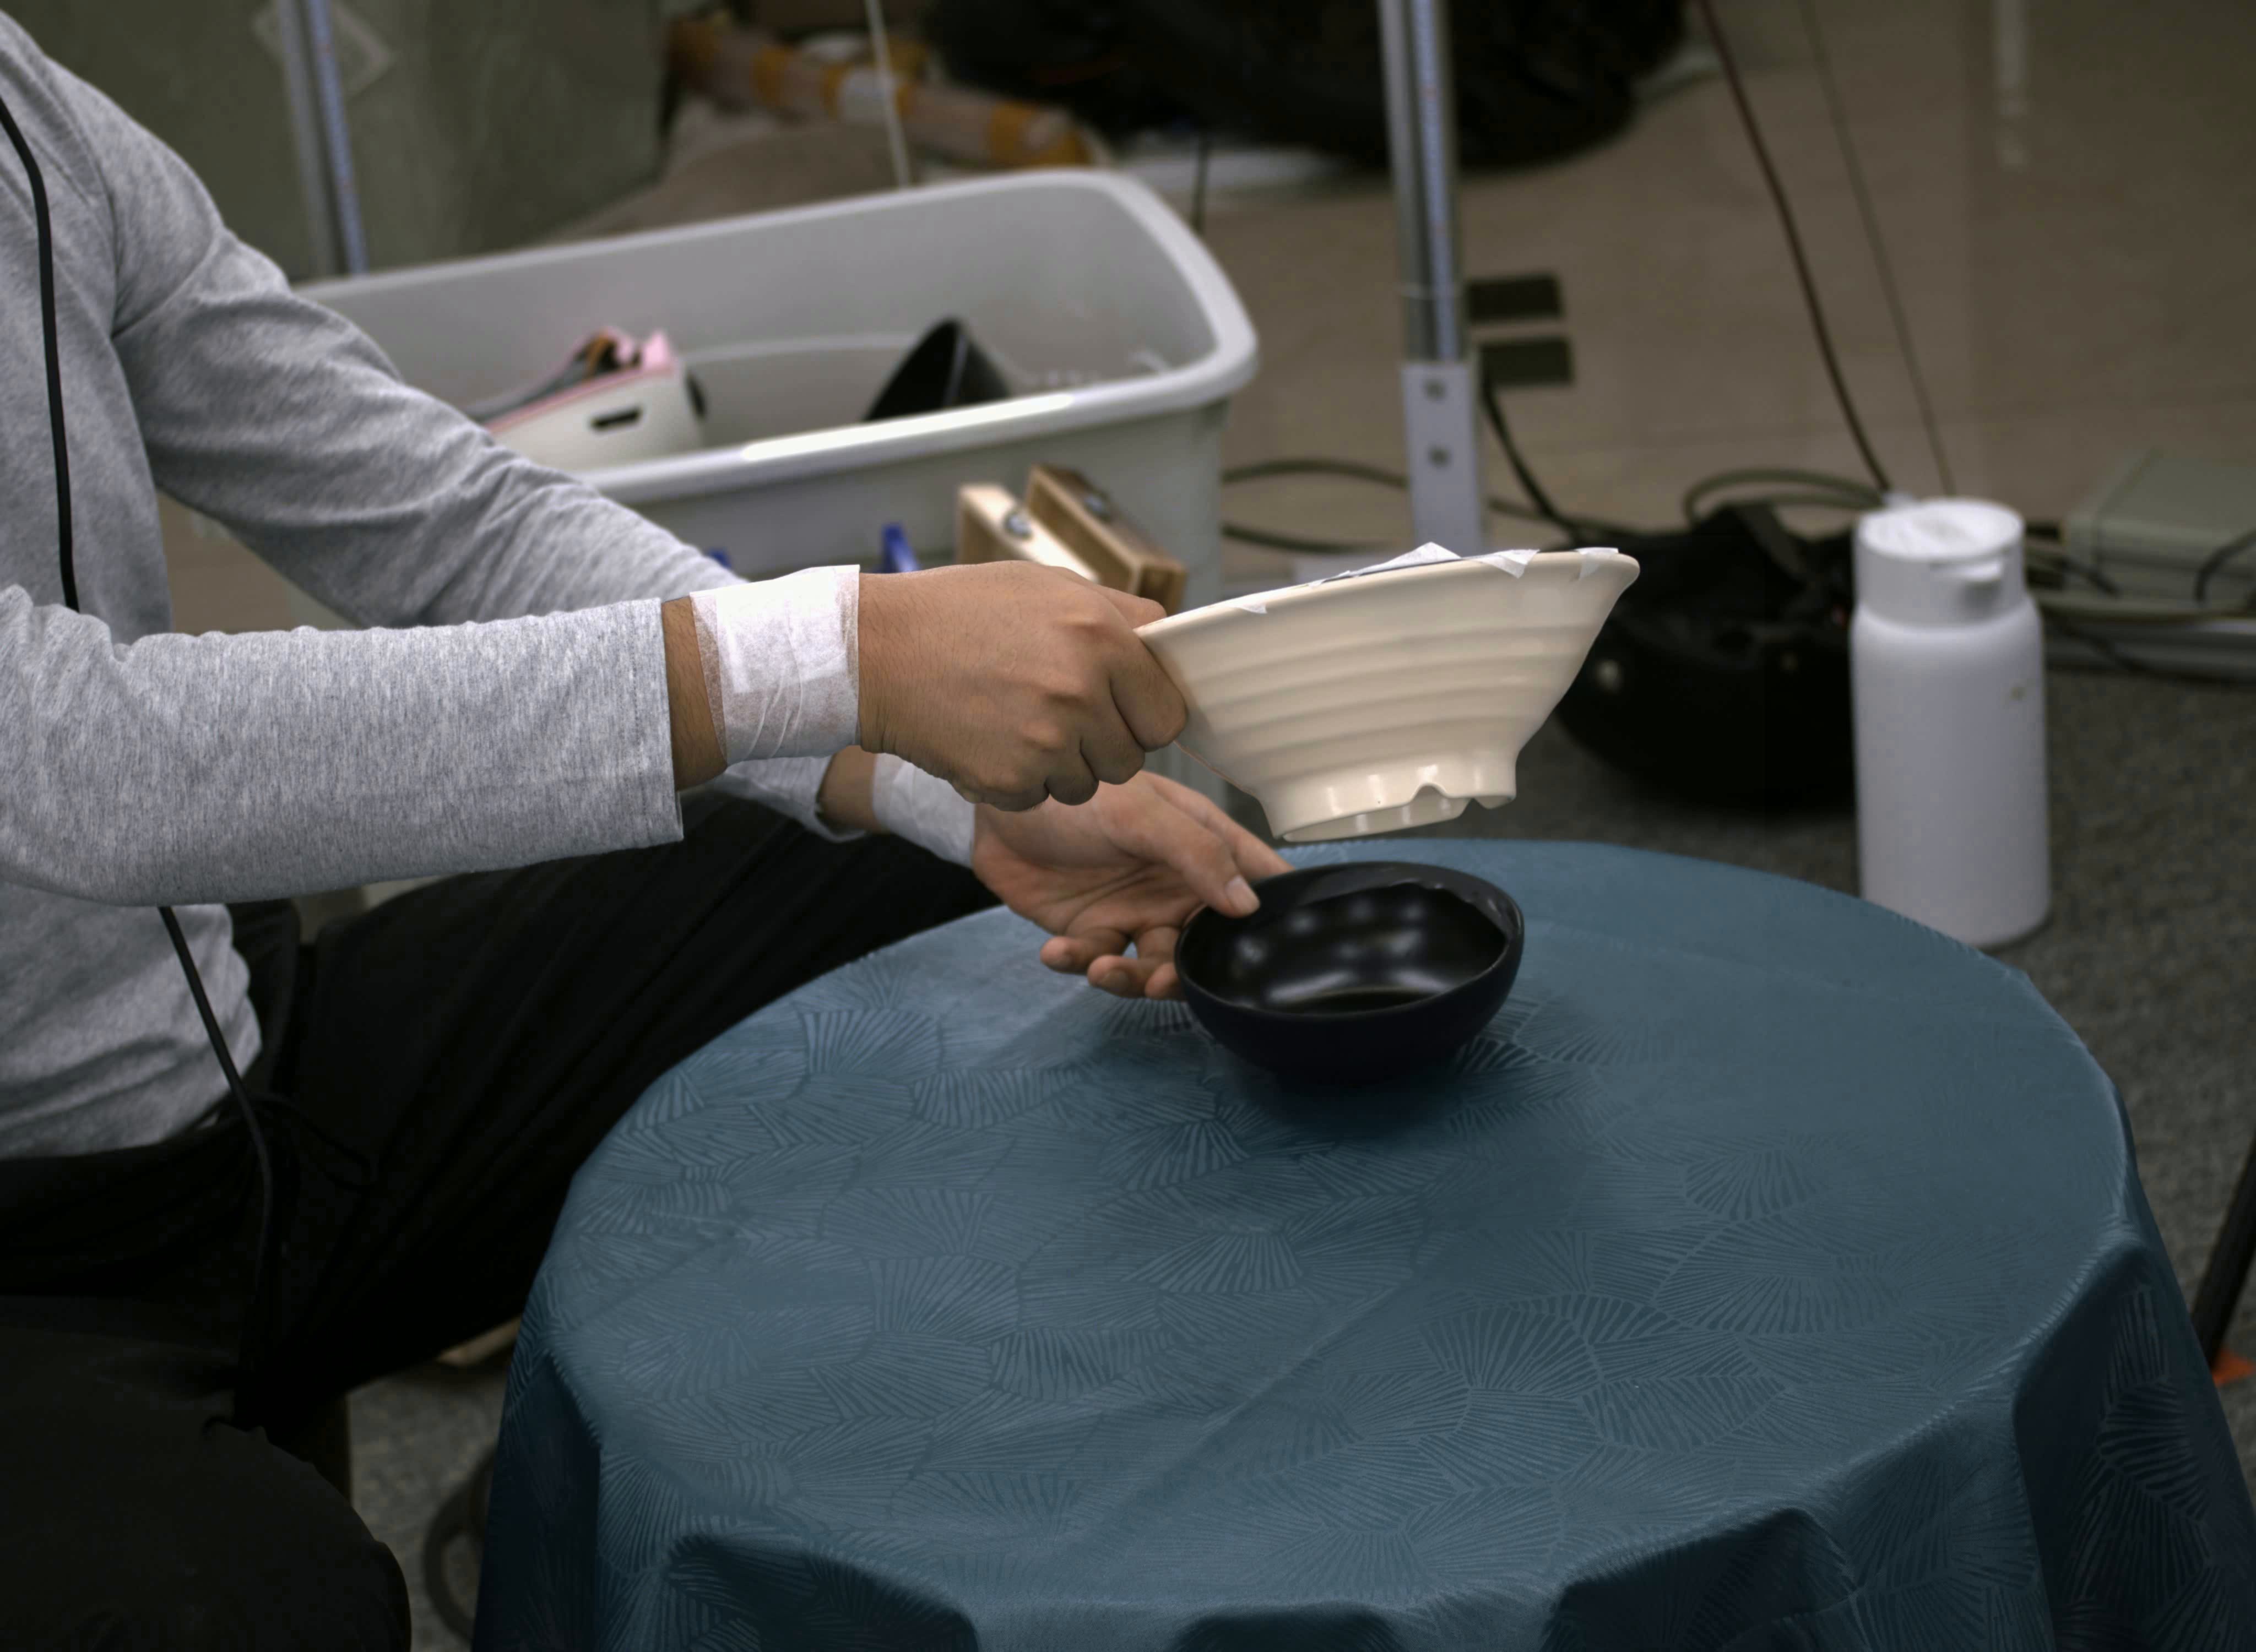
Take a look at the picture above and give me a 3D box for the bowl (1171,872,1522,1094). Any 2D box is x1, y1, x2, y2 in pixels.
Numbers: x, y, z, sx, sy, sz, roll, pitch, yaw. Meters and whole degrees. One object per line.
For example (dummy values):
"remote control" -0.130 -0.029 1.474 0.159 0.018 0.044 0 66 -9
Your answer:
"bowl" 0.089 0.068 2.232 0.140 0.050 0.138 -9 22 4

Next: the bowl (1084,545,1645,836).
"bowl" 0.090 -0.042 2.023 0.203 0.078 0.204 -9 -6 -1
